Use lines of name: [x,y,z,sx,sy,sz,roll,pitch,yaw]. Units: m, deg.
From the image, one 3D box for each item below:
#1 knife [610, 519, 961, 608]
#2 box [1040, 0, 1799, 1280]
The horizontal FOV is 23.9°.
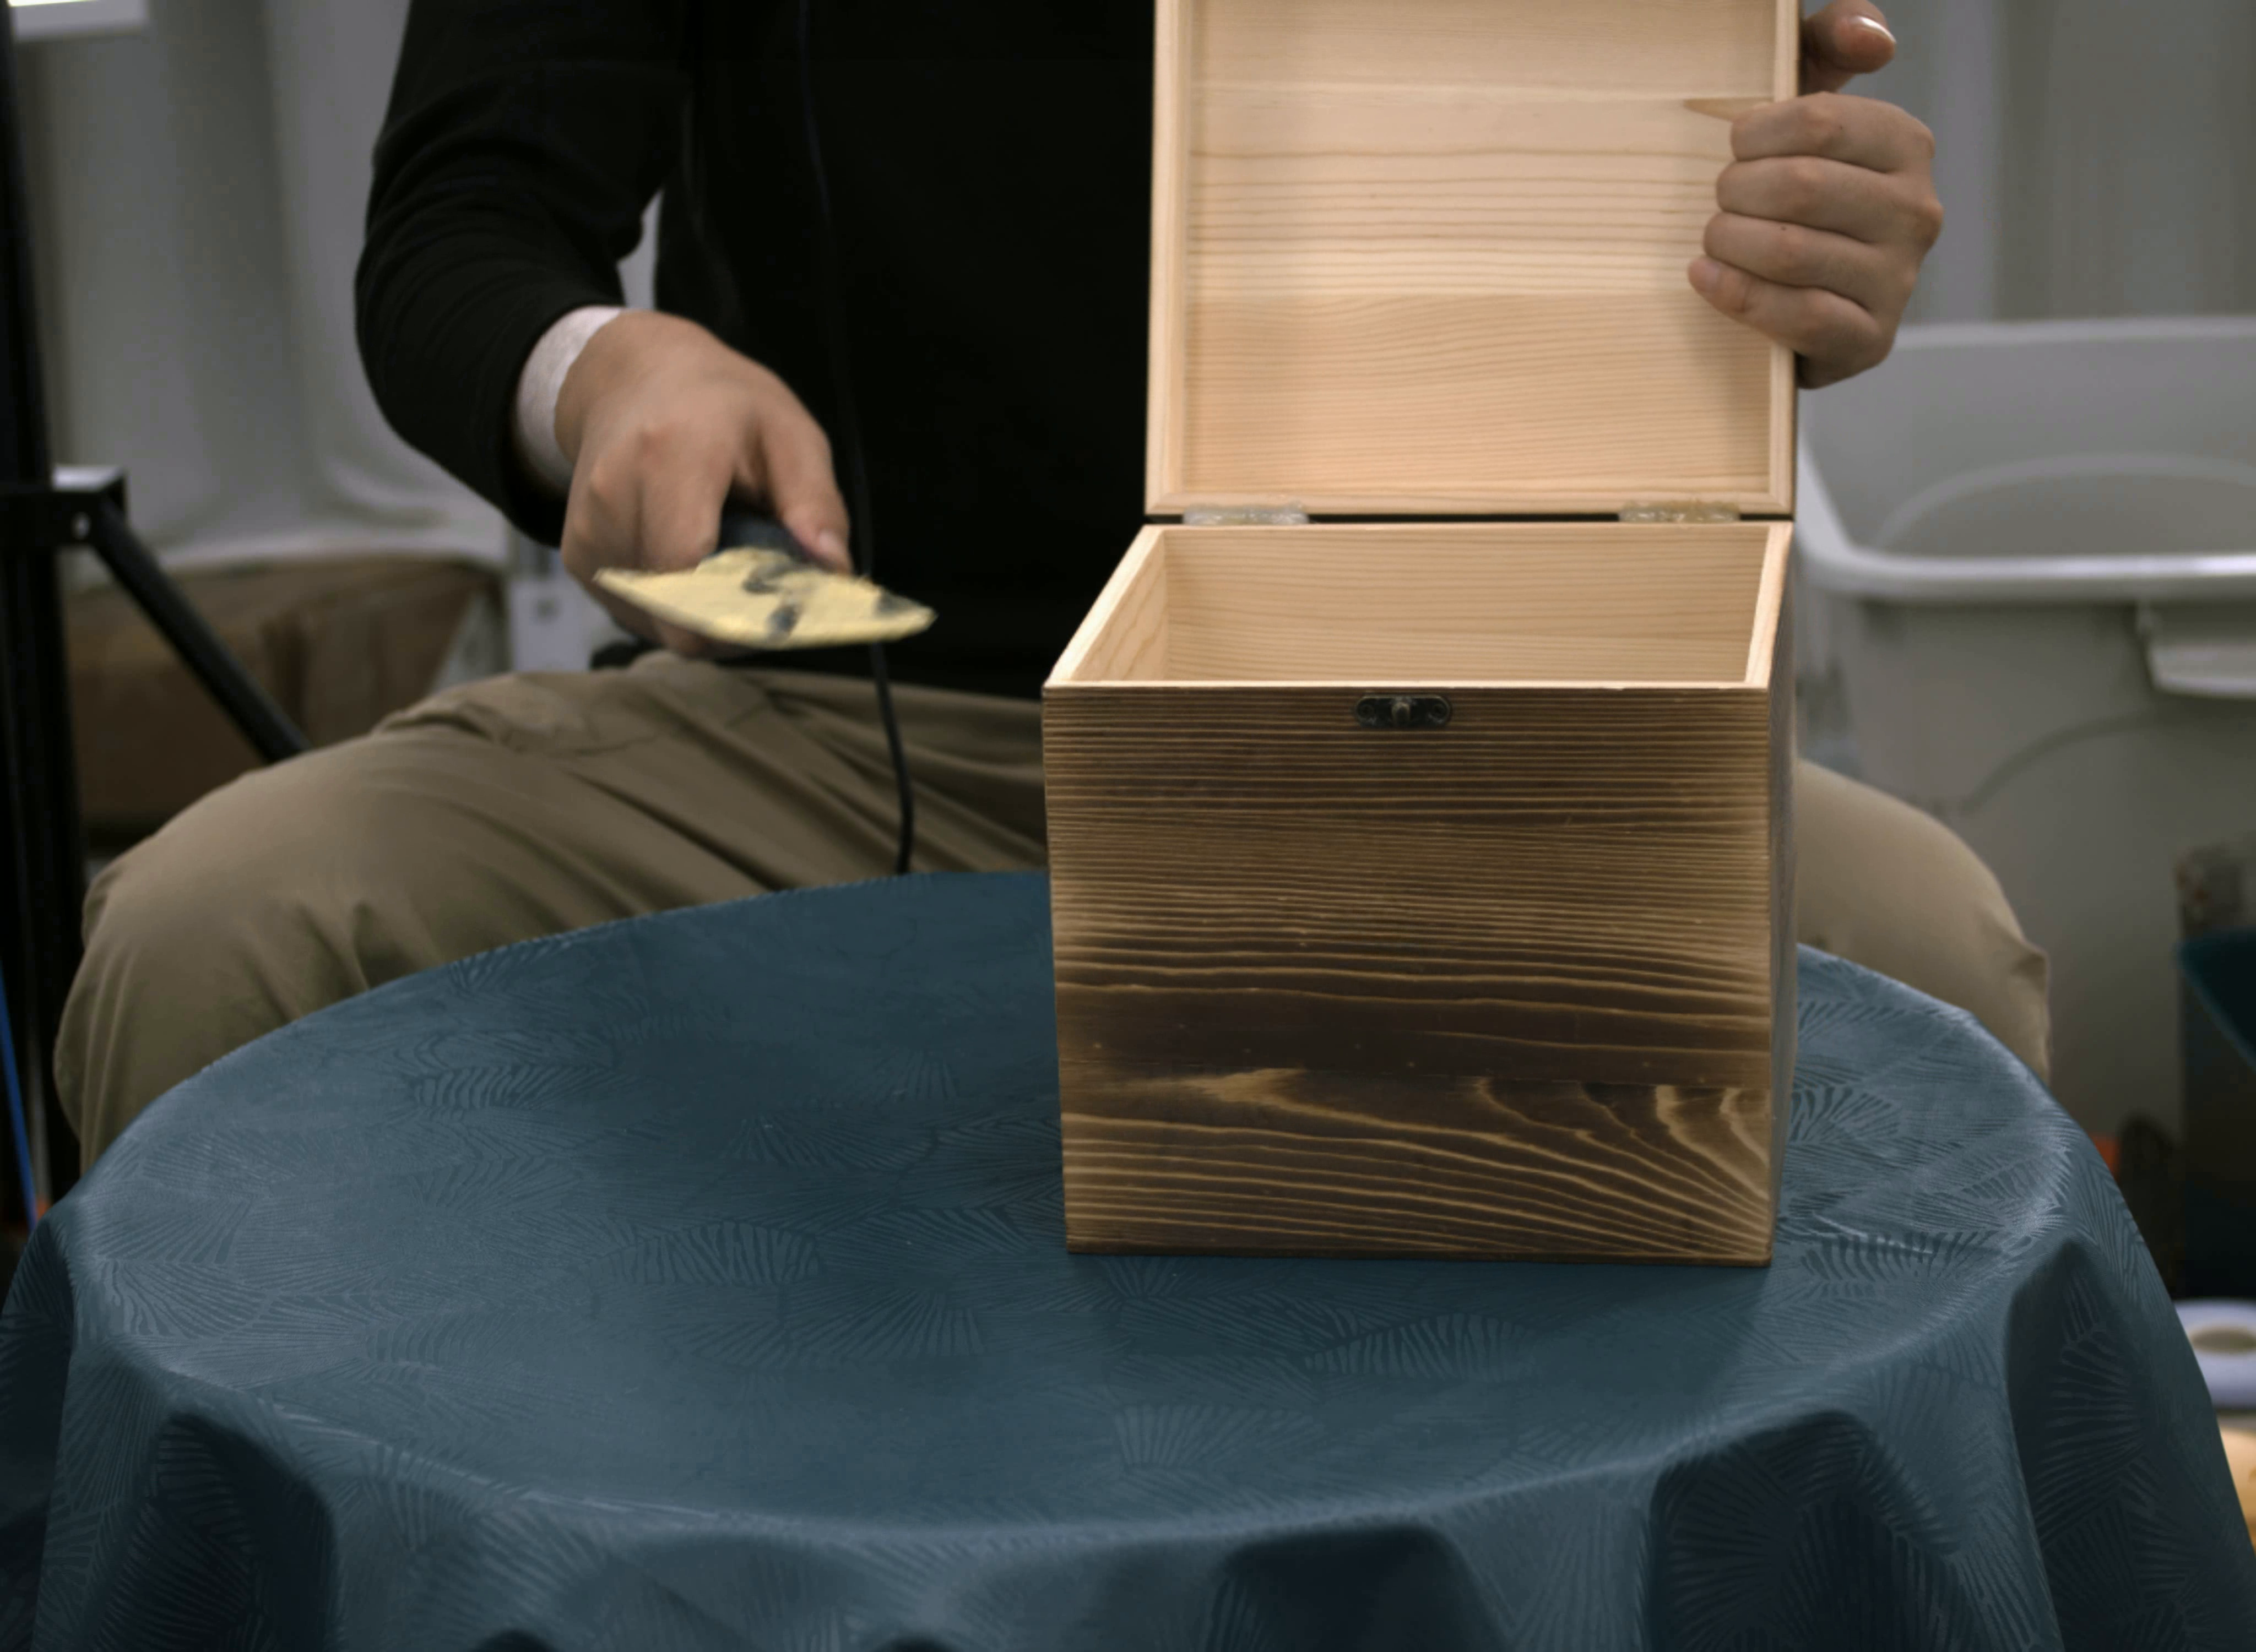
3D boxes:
knife: [-0.113,-0.076,1.599,0.080,0.027,0.293,3,5,-16]
box: [0.094,-0.091,1.587,0.209,0.375,0.321,0,15,10]
